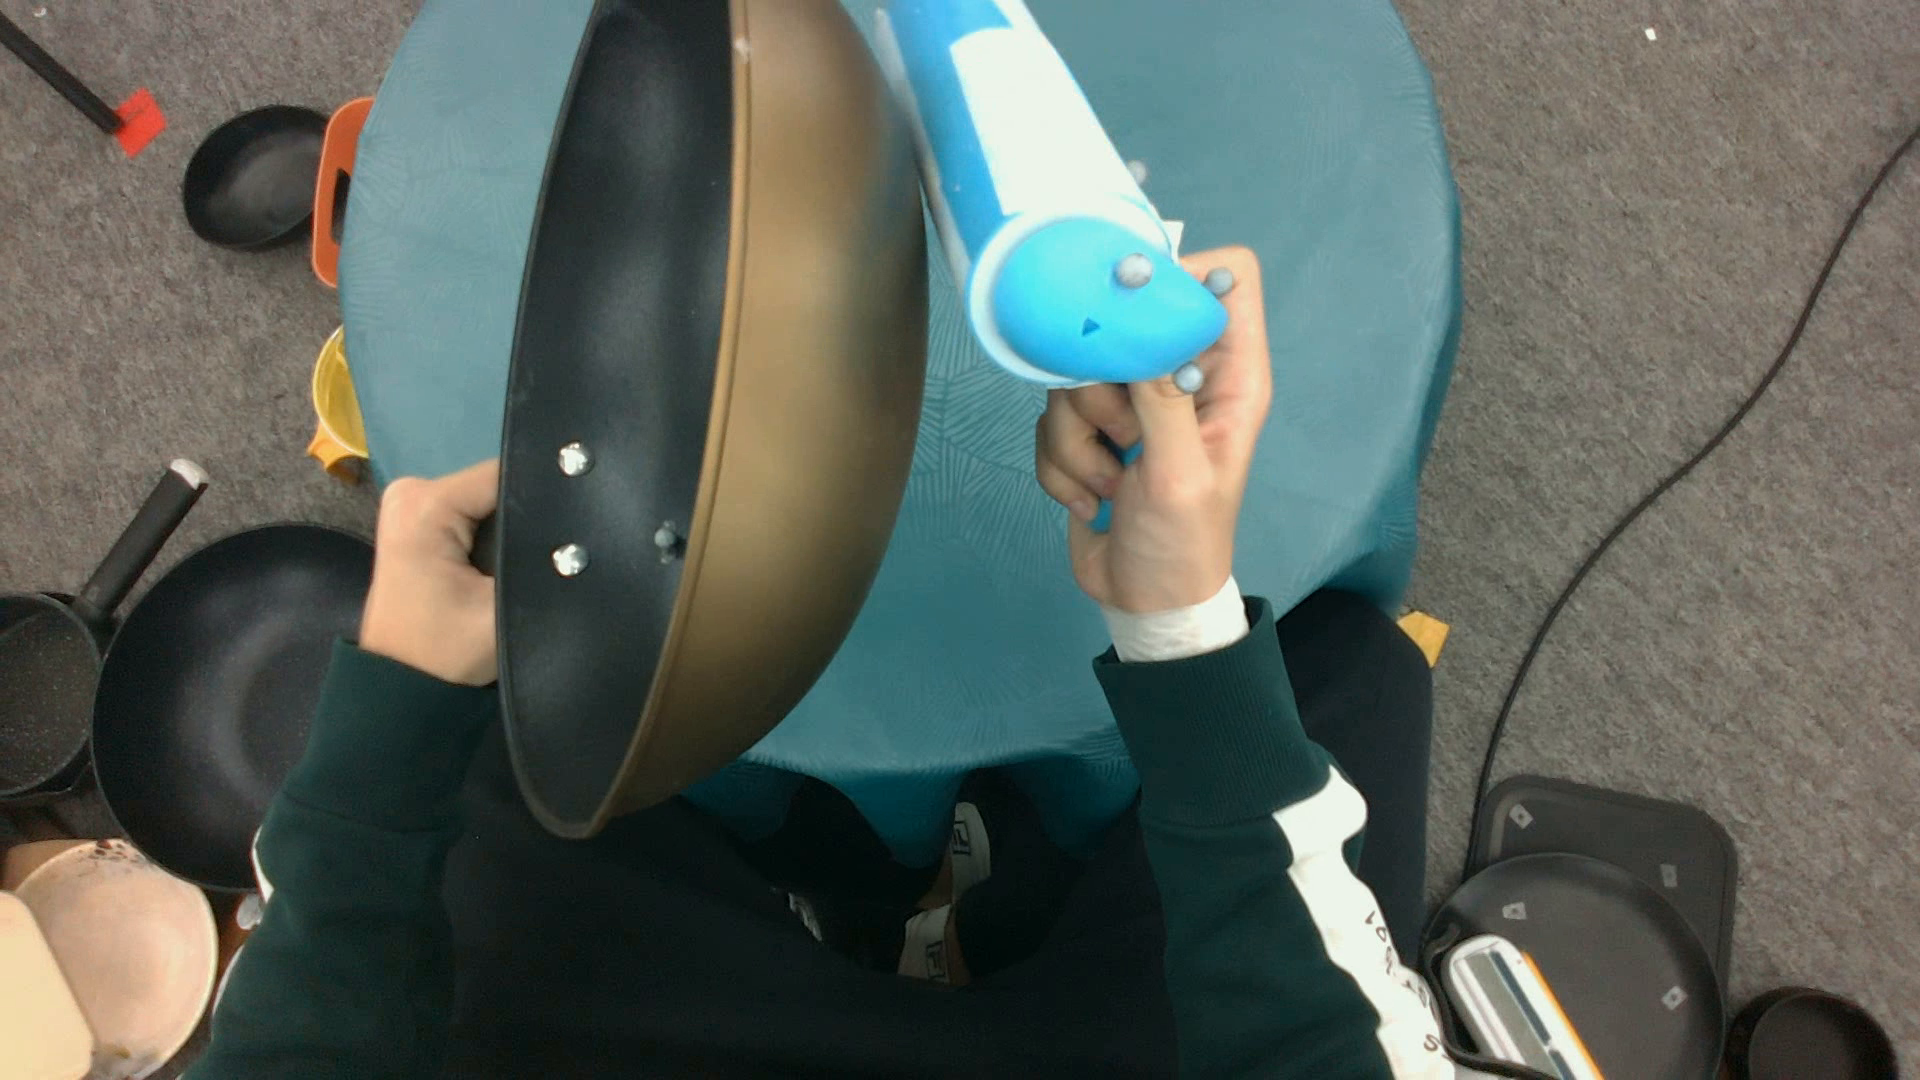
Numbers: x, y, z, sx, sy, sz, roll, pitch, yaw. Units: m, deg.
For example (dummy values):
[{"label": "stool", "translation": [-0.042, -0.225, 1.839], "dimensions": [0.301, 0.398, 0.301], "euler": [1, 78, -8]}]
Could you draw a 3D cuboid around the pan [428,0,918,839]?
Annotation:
[{"label": "pan", "translation": [-0.126, -0.022, 0.513], "dimensions": [0.087, 0.461, 0.289], "euler": [6, 68, -28]}]

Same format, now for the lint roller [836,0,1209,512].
[{"label": "lint roller", "translation": [0.030, -0.086, 0.451], "dimensions": [0.068, 0.180, 0.229], "euler": [-29, 42, 6]}]
